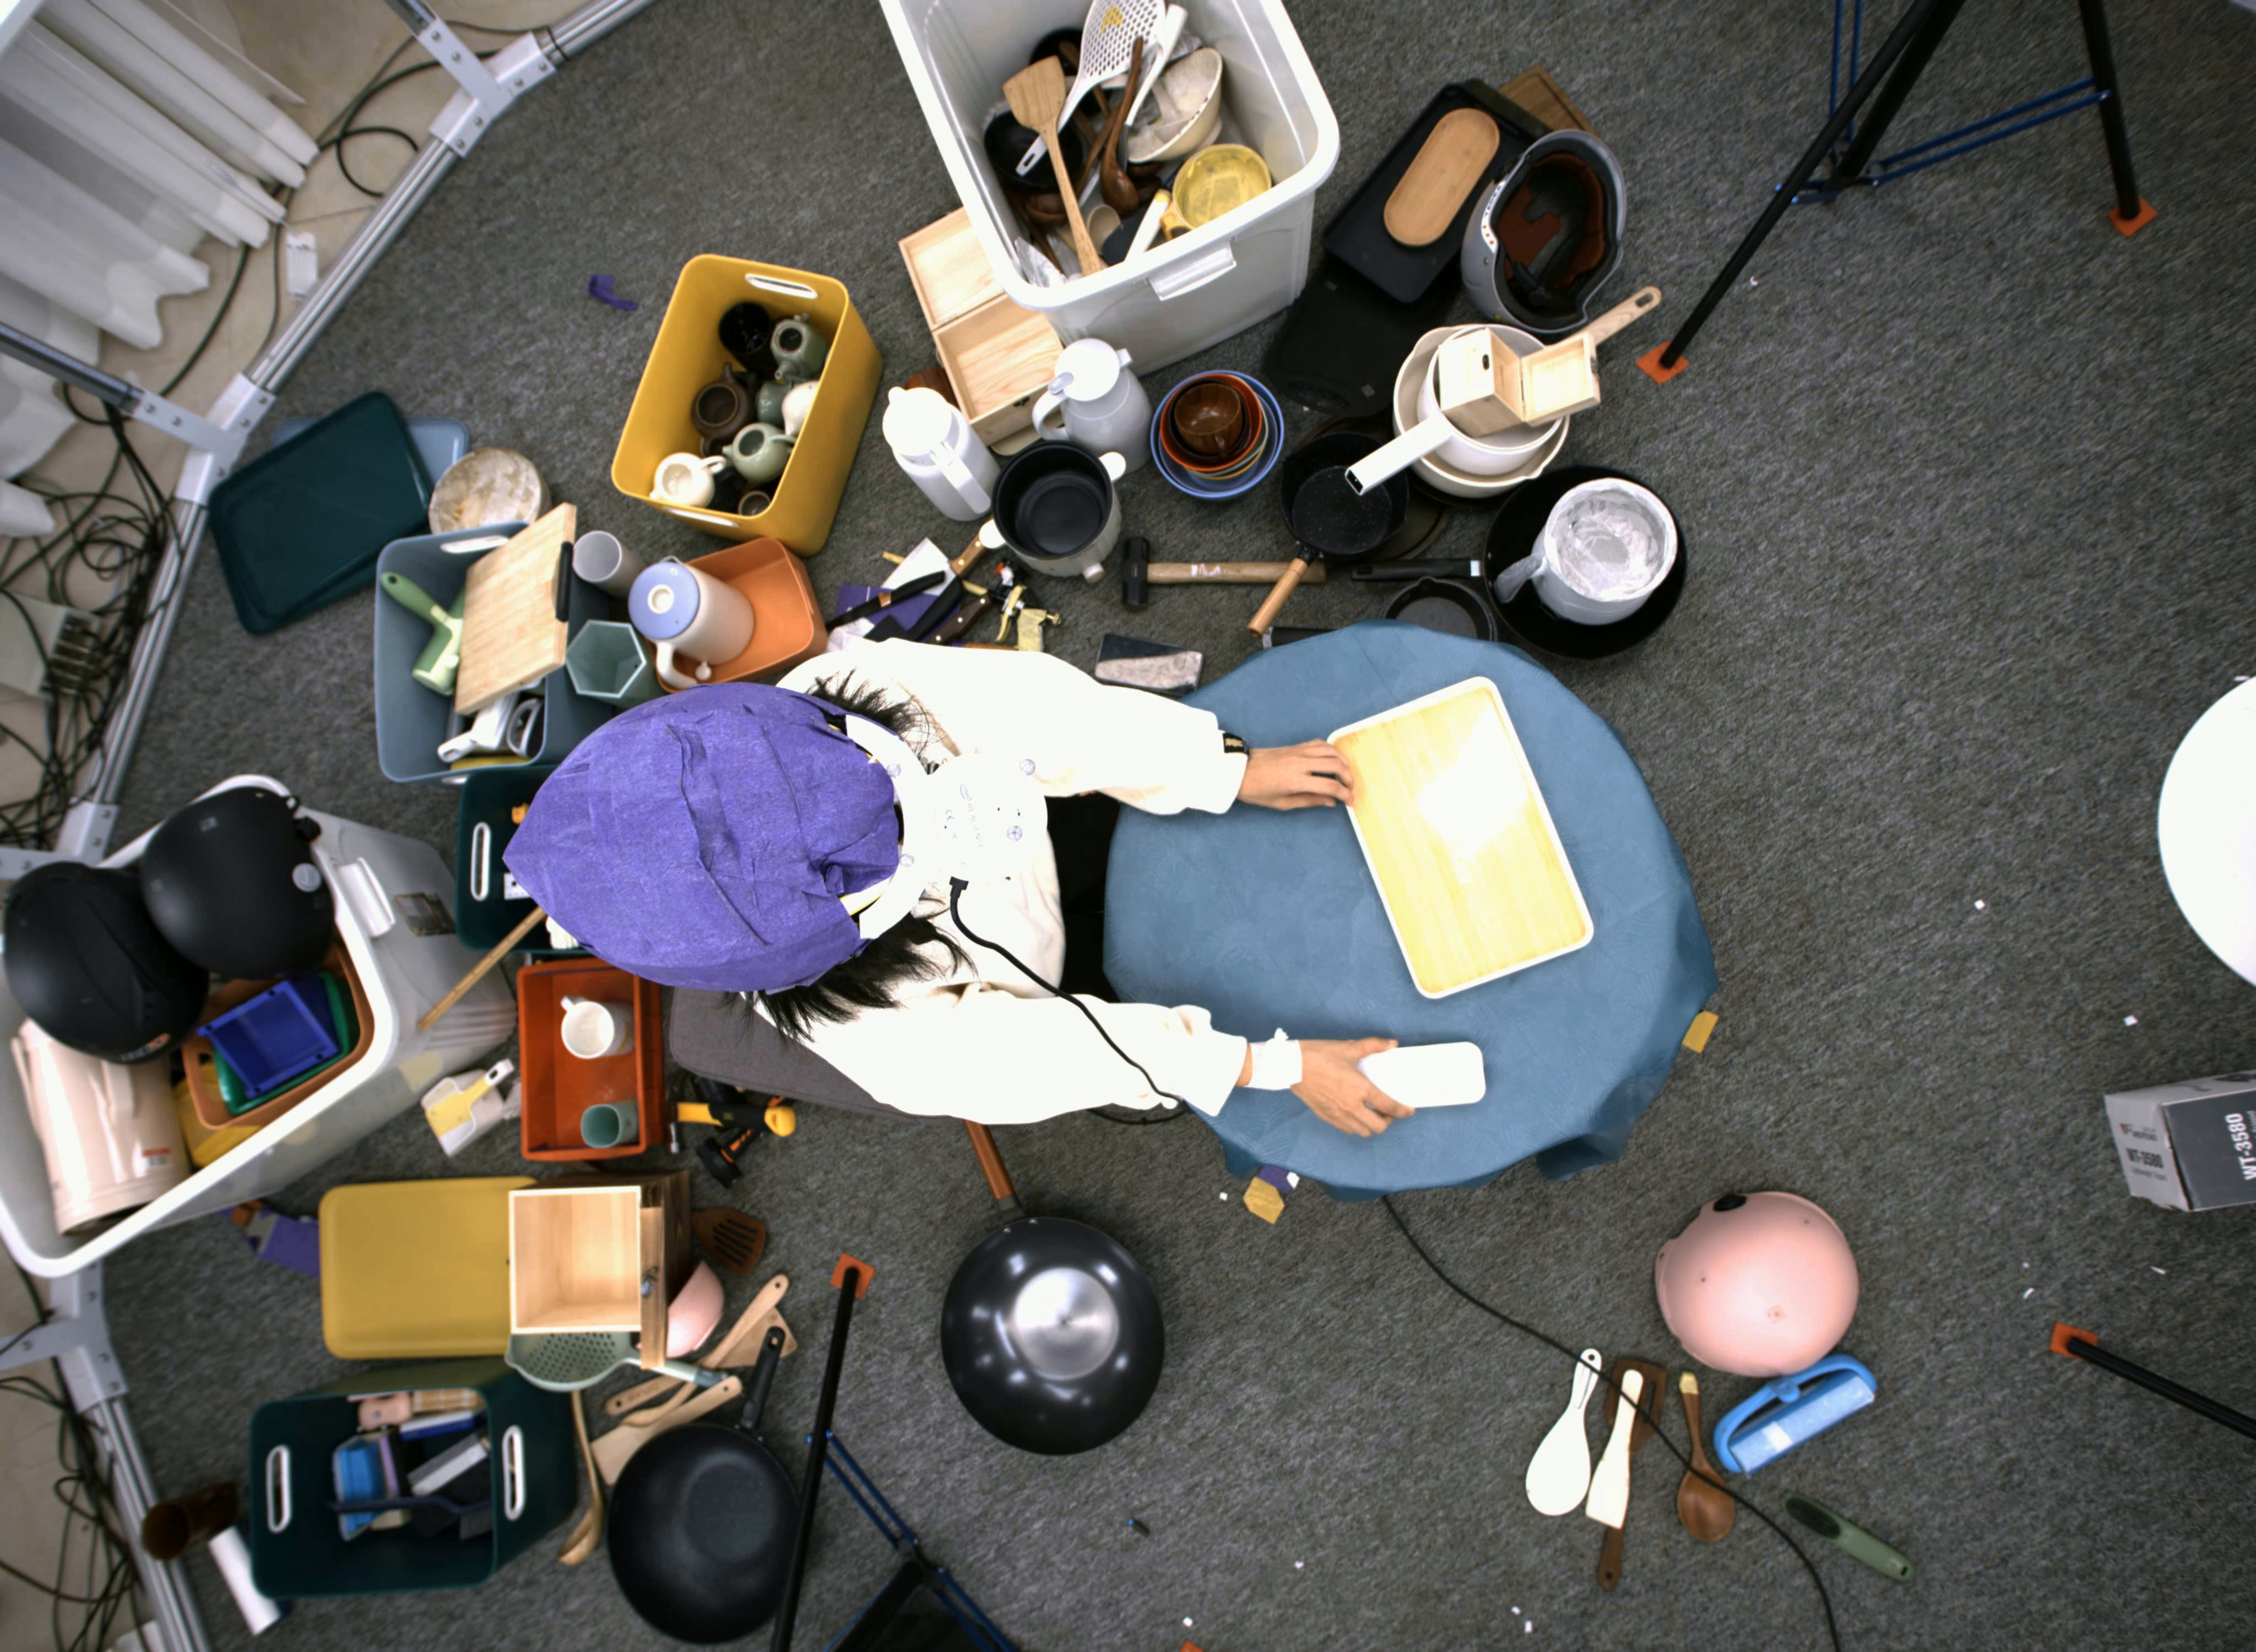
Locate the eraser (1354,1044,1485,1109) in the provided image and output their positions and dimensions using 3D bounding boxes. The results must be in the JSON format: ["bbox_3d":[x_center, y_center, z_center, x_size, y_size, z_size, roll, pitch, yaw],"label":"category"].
[{"bbox_3d":[0.301,0.256,1.428,0.132,0.034,0.063,-4,86,10],"label":"eraser"}]

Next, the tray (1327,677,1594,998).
[{"bbox_3d":[0.344,0.010,1.436,0.192,0.027,0.298,-21,83,8],"label":"tray"}]
